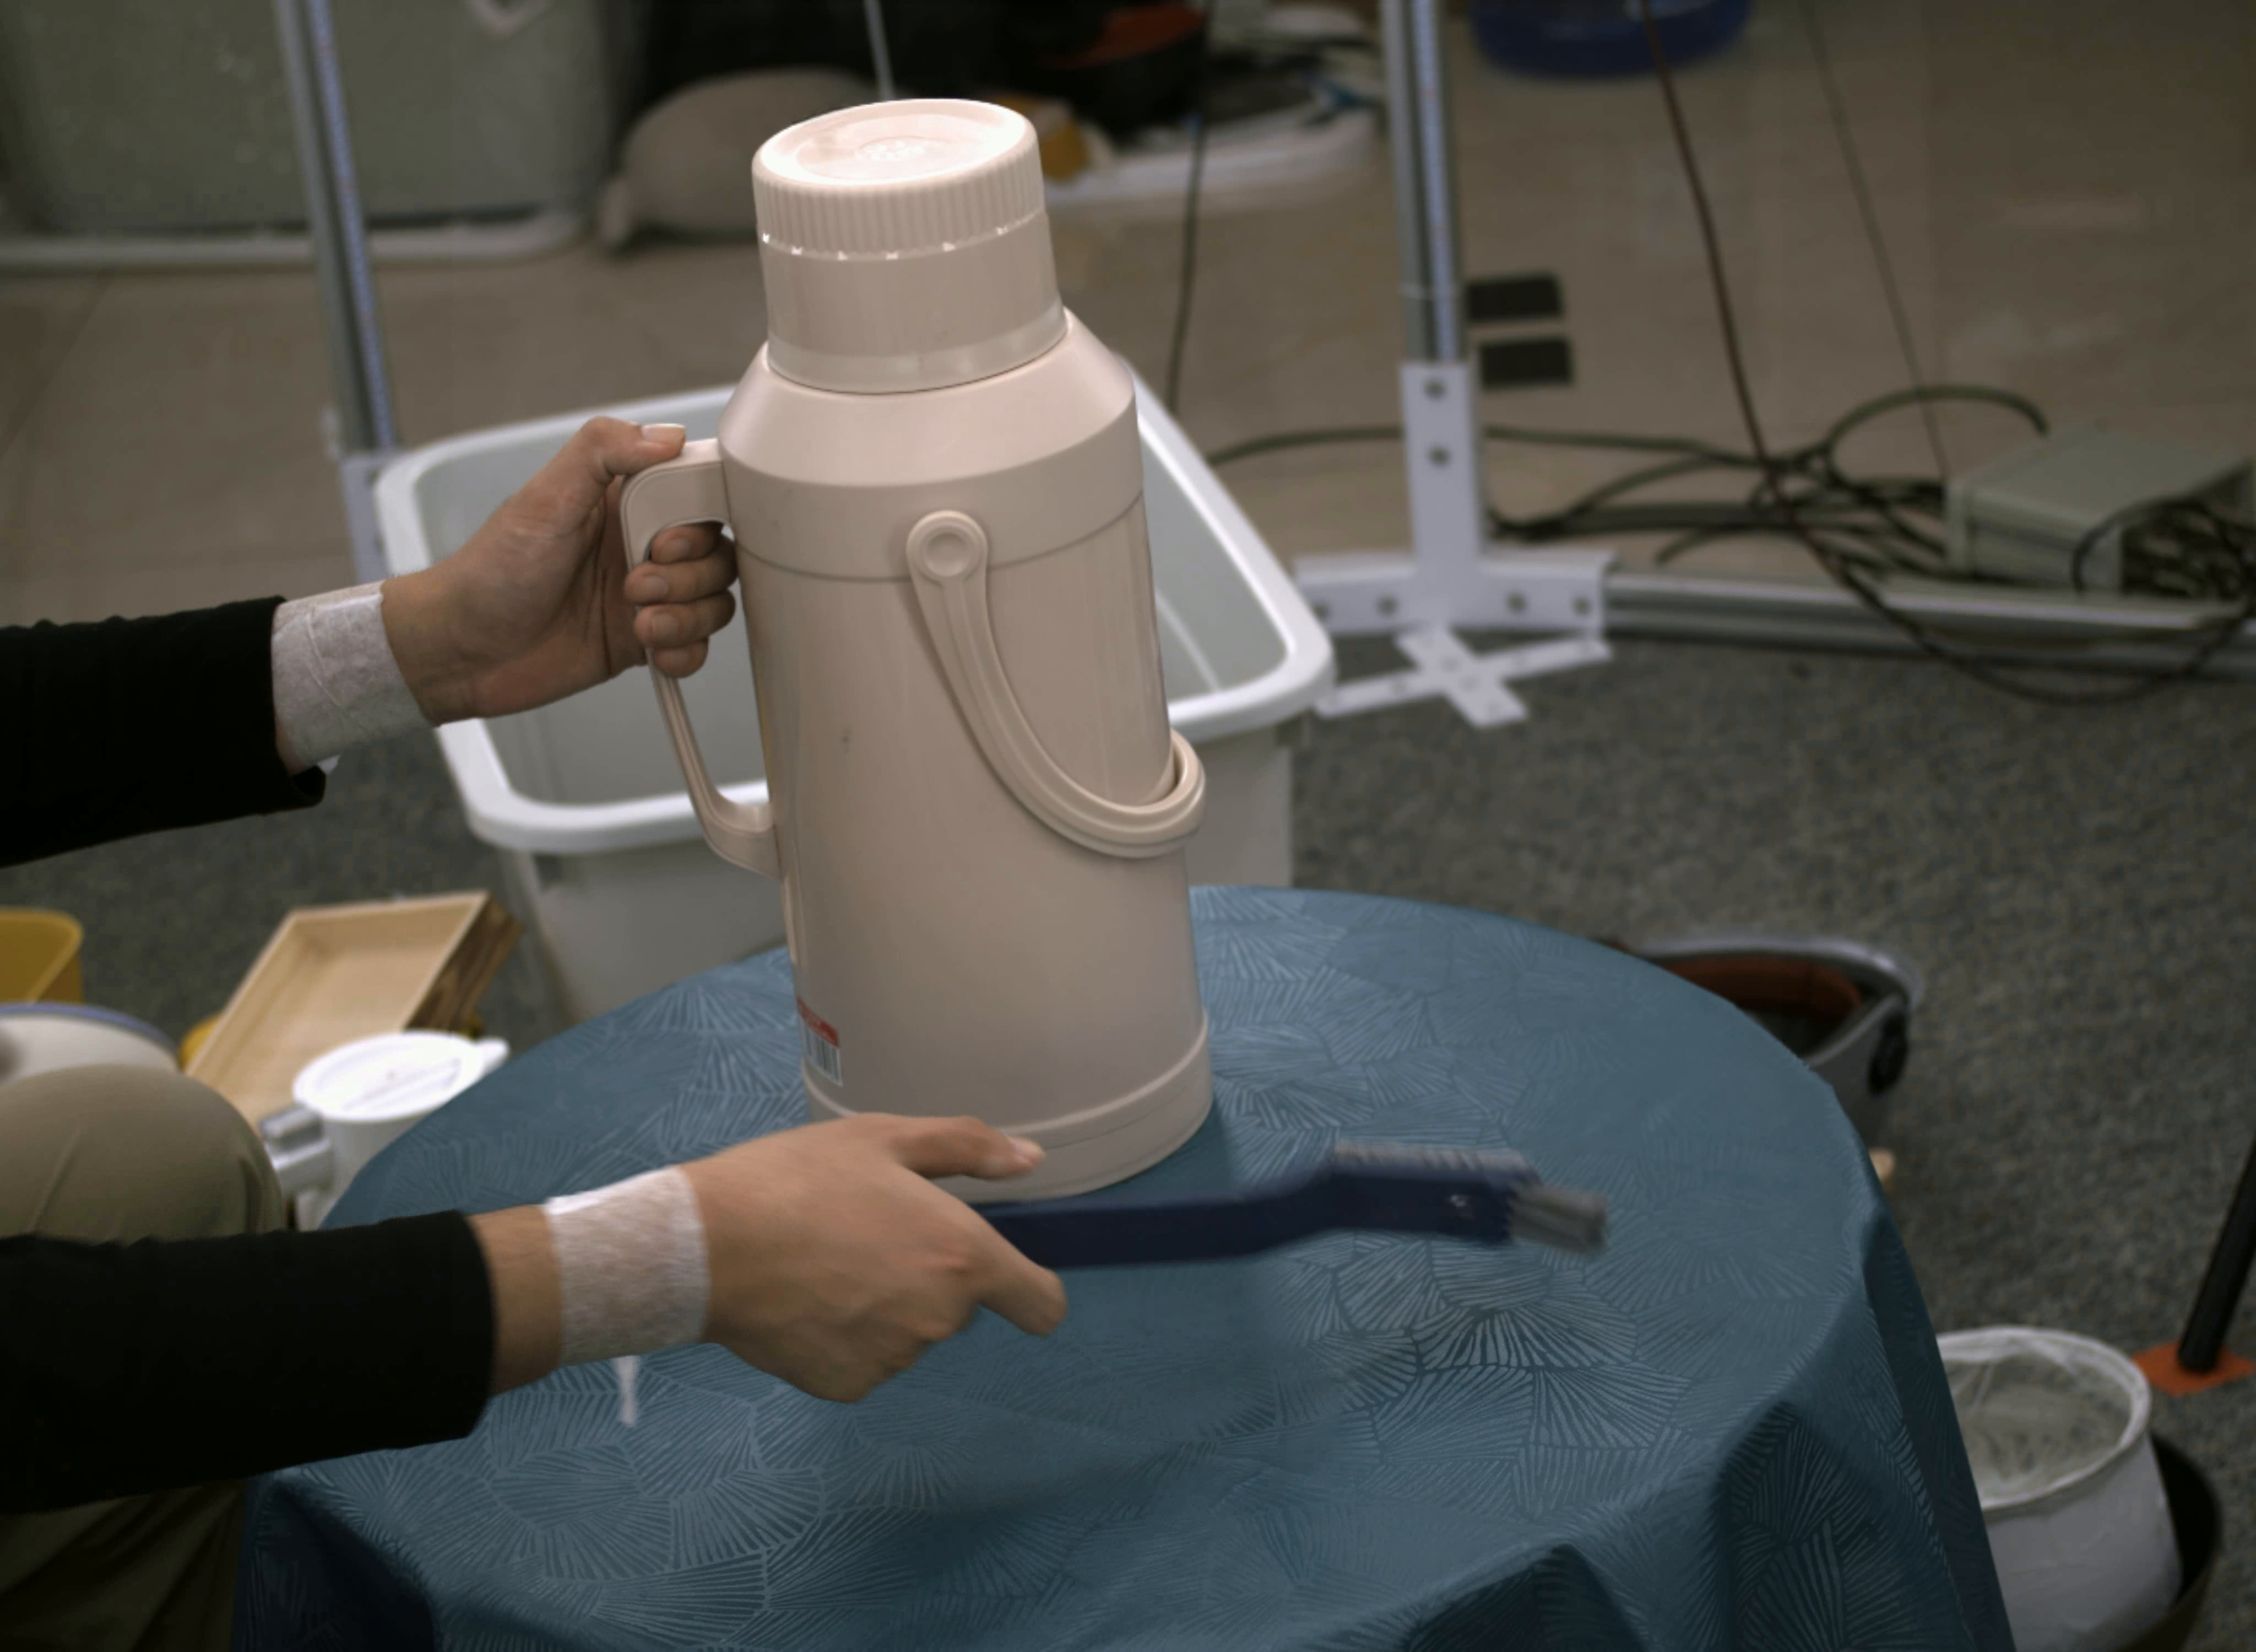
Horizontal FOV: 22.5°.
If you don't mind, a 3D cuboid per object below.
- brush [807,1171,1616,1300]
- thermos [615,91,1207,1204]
[{"bbox_3d":[0.027,0.142,1.958,0.273,0.034,0.094,-3,20,-22],"label":"brush"},{"bbox_3d":[-0.081,-0.066,2.131,0.206,0.413,0.172,-7,27,-3],"label":"thermos"}]
